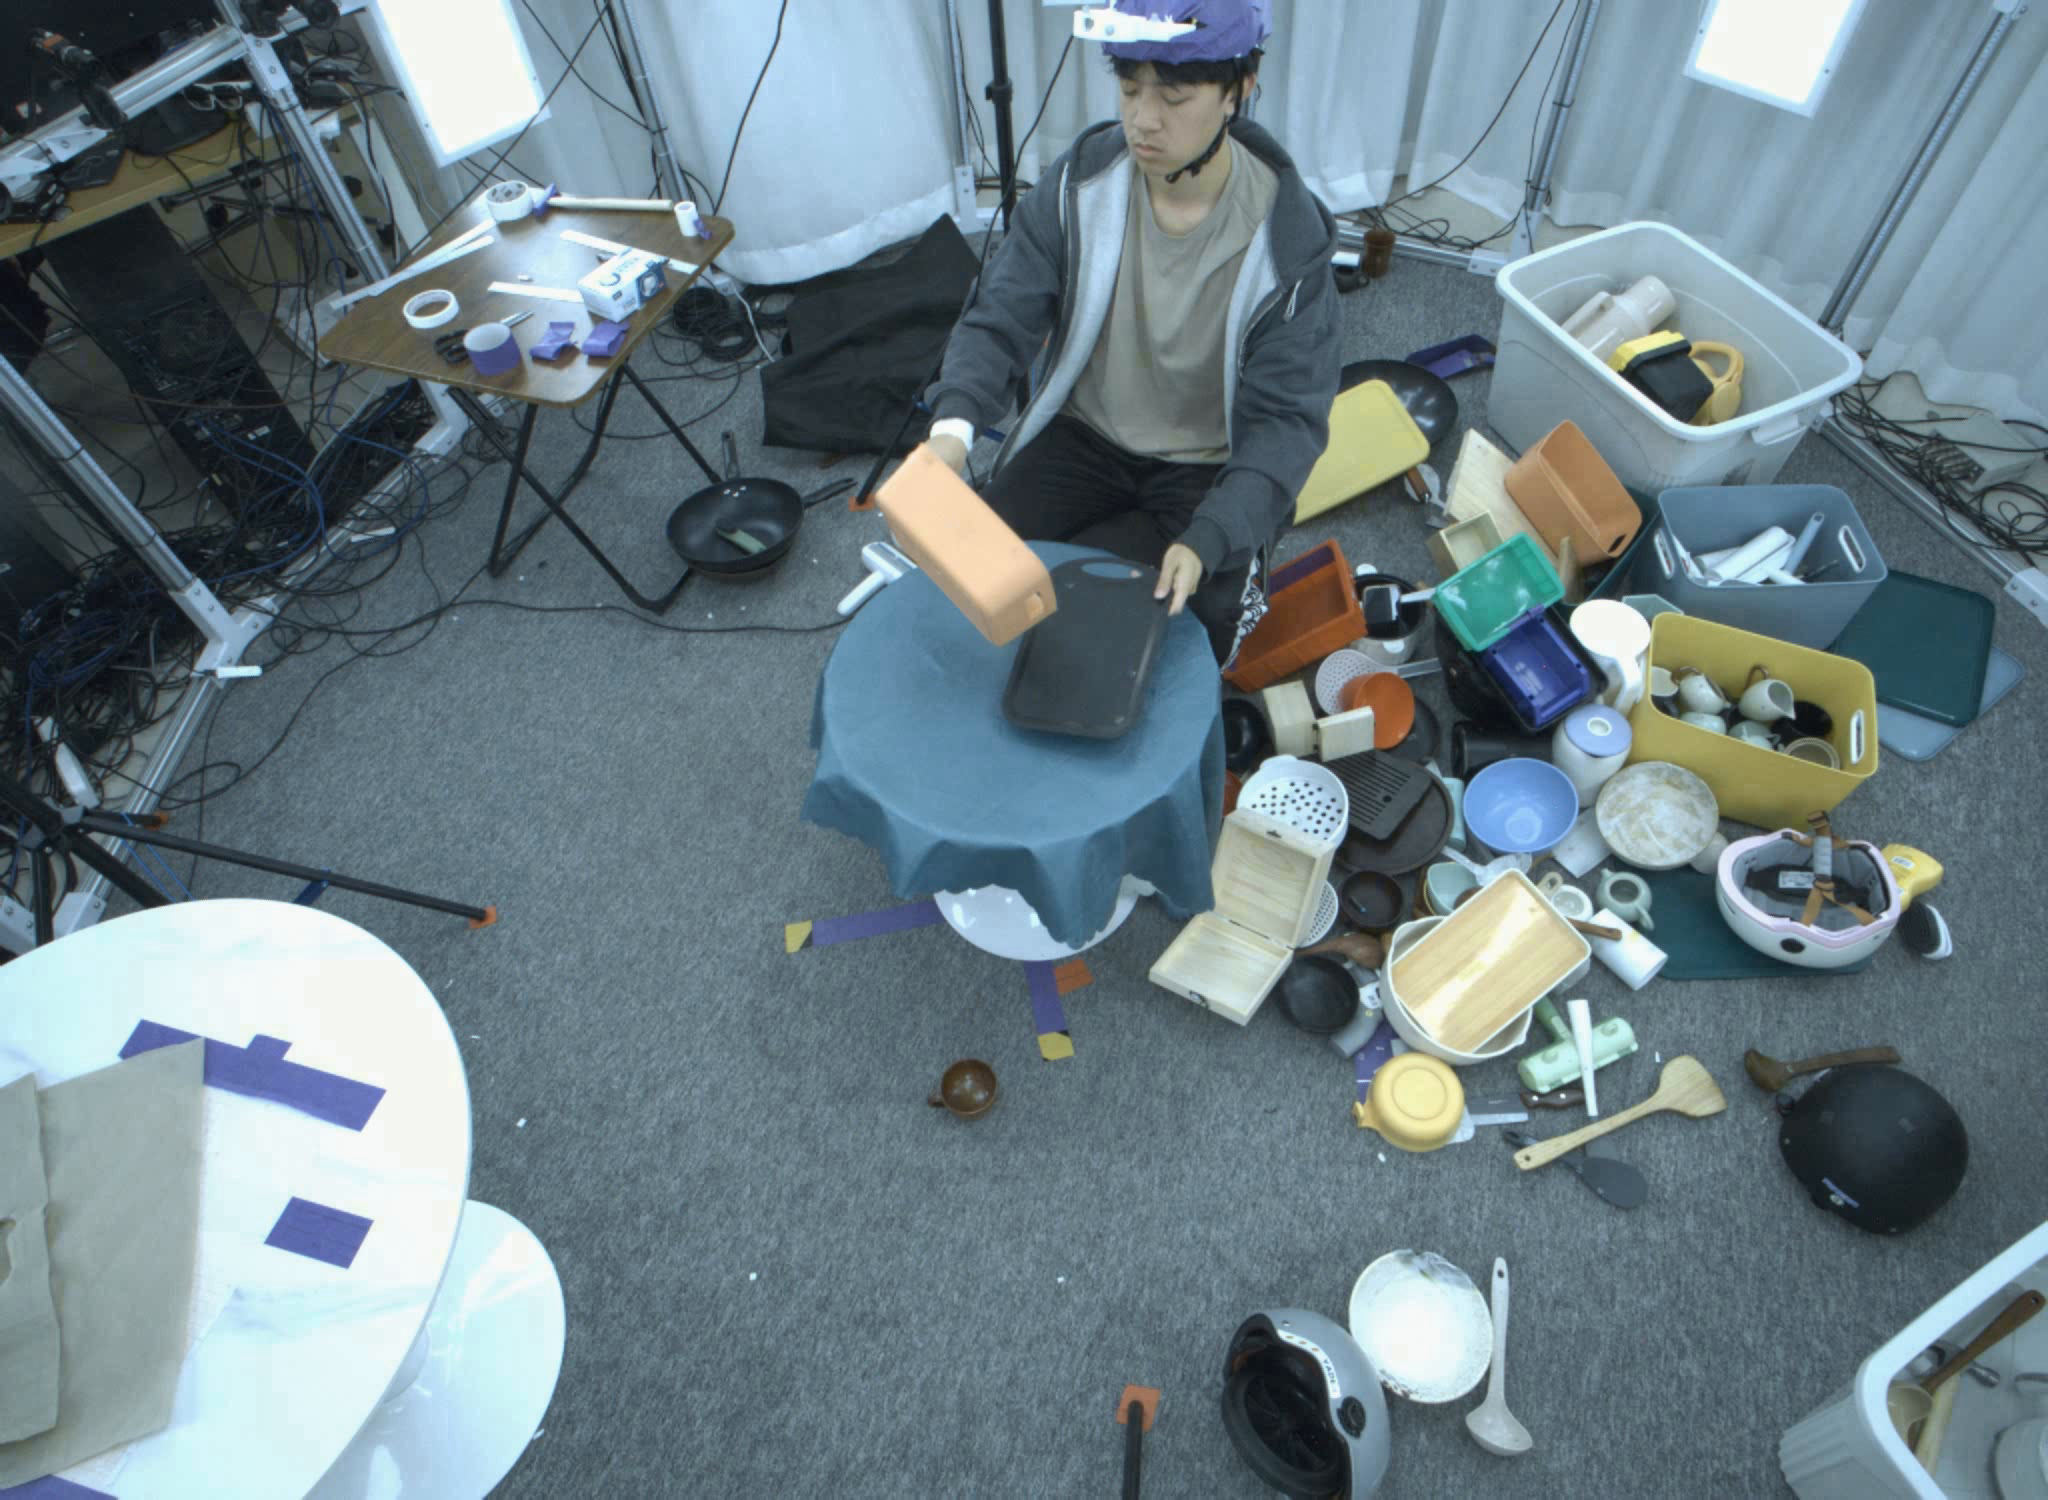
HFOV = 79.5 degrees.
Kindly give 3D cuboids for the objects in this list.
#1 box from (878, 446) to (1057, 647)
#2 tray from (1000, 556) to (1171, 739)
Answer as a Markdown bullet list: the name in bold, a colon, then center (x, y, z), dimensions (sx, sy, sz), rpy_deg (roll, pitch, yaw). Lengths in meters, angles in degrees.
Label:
- **box**: center (-0.084, -0.276, 1.707), dimensions (0.103, 0.201, 0.271), rpy_deg (-42, 79, -6)
- **tray**: center (0.094, -0.163, 1.829), dimensions (0.208, 0.010, 0.324), rpy_deg (9, 62, 16)
